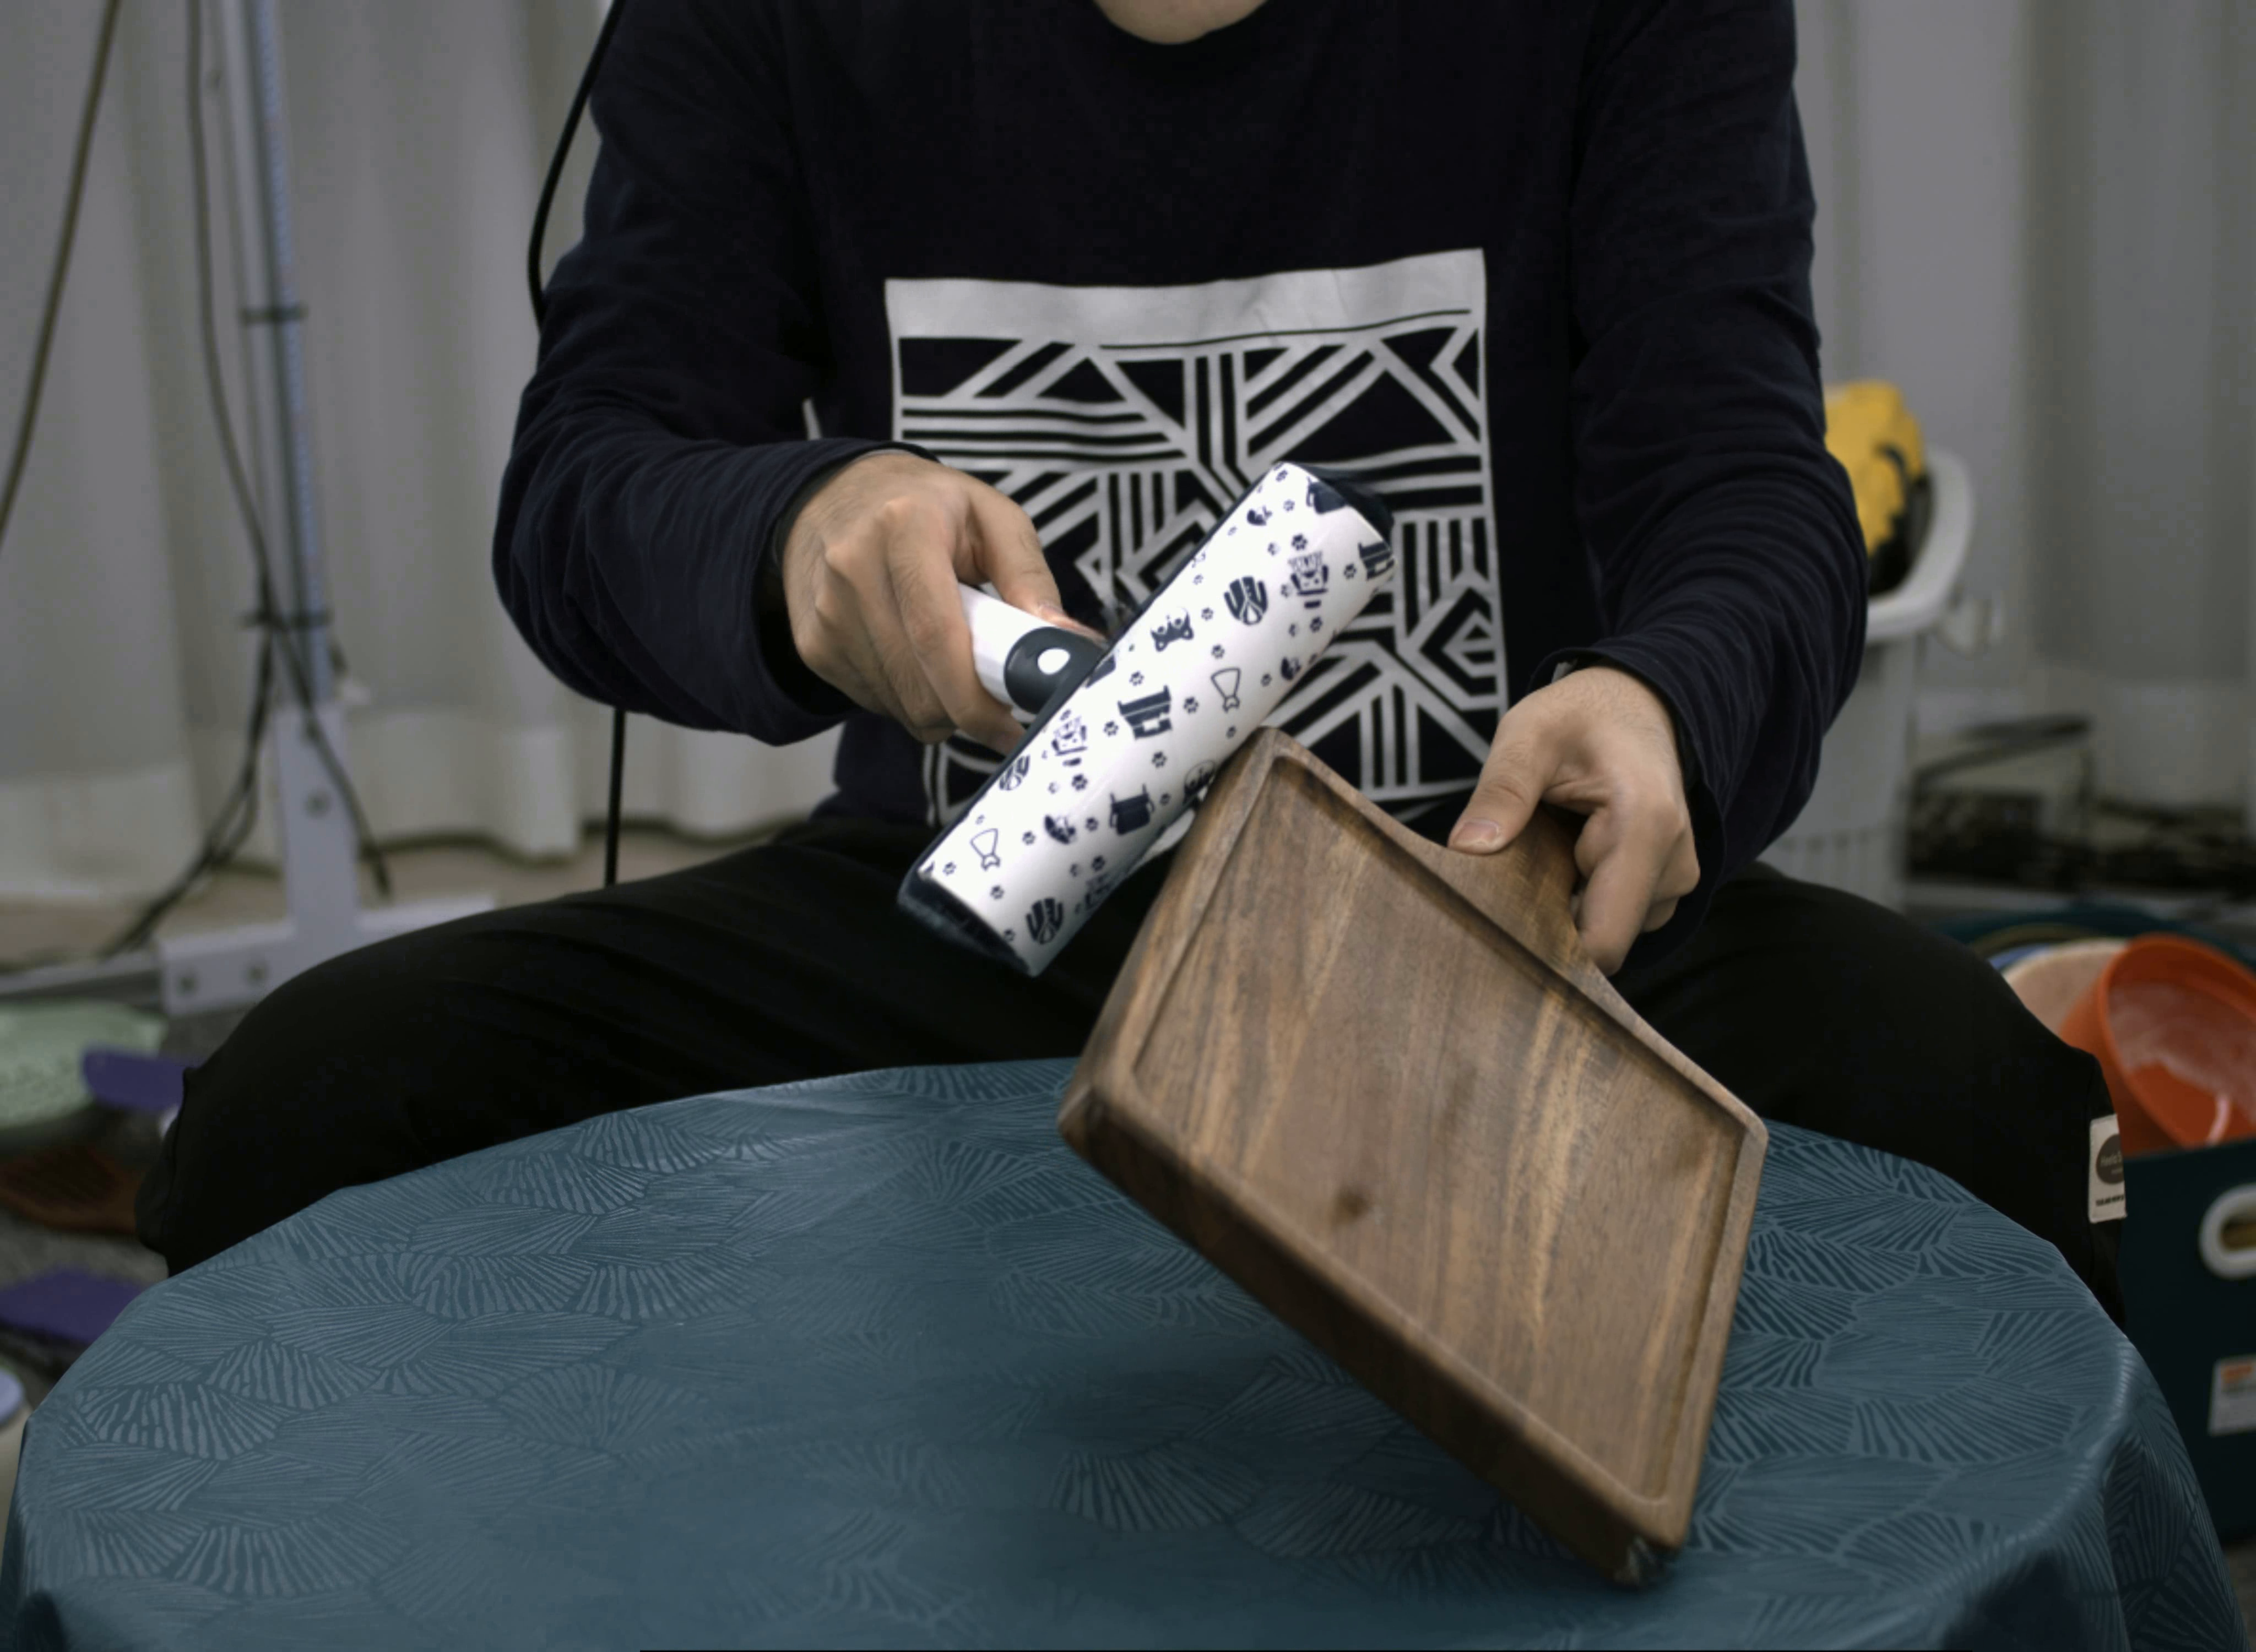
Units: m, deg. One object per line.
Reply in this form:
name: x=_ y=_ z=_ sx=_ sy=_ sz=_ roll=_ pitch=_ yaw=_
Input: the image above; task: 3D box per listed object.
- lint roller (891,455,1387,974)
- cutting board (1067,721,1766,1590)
lint roller: x=-0.031 y=-0.048 z=1.662 sx=0.177 sy=0.050 sz=0.248 roll=-49 pitch=23 yaw=-8
cutting board: x=0.094 y=0.063 z=1.531 sx=0.200 sy=0.023 sz=0.355 roll=38 pitch=25 yaw=-6
